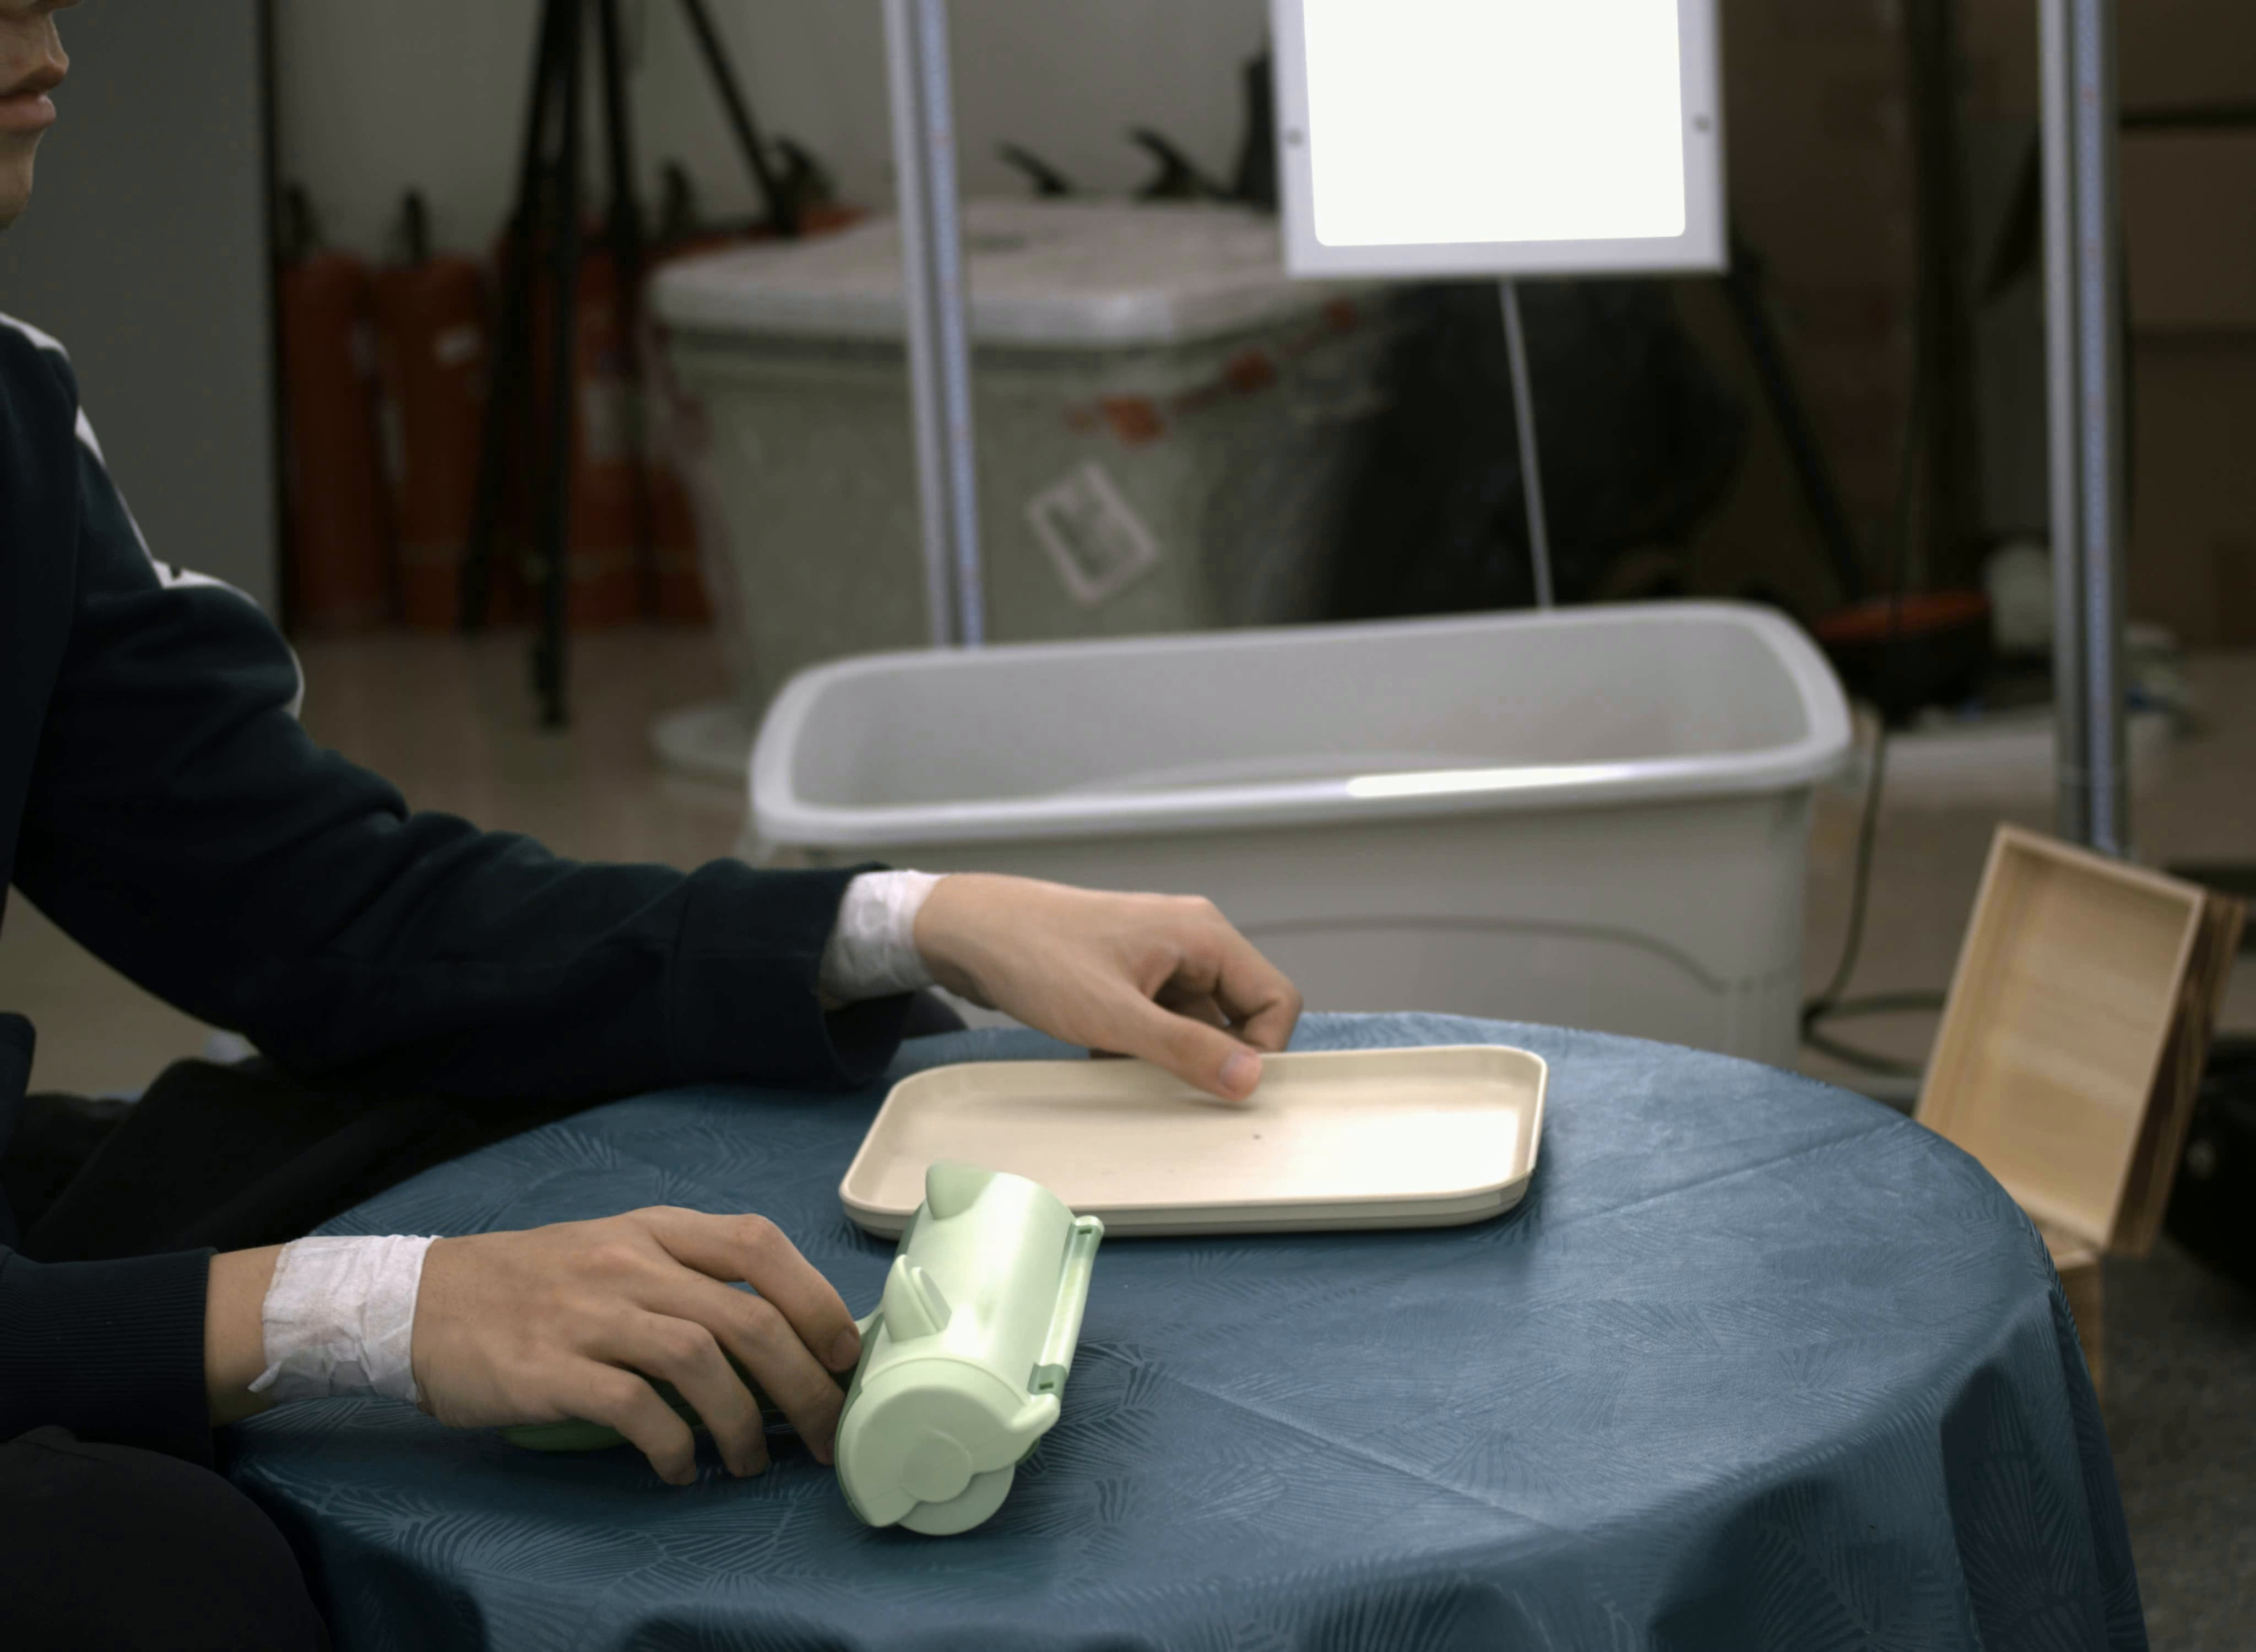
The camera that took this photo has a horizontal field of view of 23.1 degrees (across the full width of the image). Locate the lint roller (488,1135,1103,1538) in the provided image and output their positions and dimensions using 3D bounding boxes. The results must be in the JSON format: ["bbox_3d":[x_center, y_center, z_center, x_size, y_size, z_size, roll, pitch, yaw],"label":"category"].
[{"bbox_3d":[-0.105,0.150,1.677,0.184,0.082,0.197,1,14,6],"label":"lint roller"}]

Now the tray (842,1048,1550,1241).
[{"bbox_3d":[0.027,0.111,1.910,0.241,0.017,0.170,-3,13,9],"label":"tray"}]
